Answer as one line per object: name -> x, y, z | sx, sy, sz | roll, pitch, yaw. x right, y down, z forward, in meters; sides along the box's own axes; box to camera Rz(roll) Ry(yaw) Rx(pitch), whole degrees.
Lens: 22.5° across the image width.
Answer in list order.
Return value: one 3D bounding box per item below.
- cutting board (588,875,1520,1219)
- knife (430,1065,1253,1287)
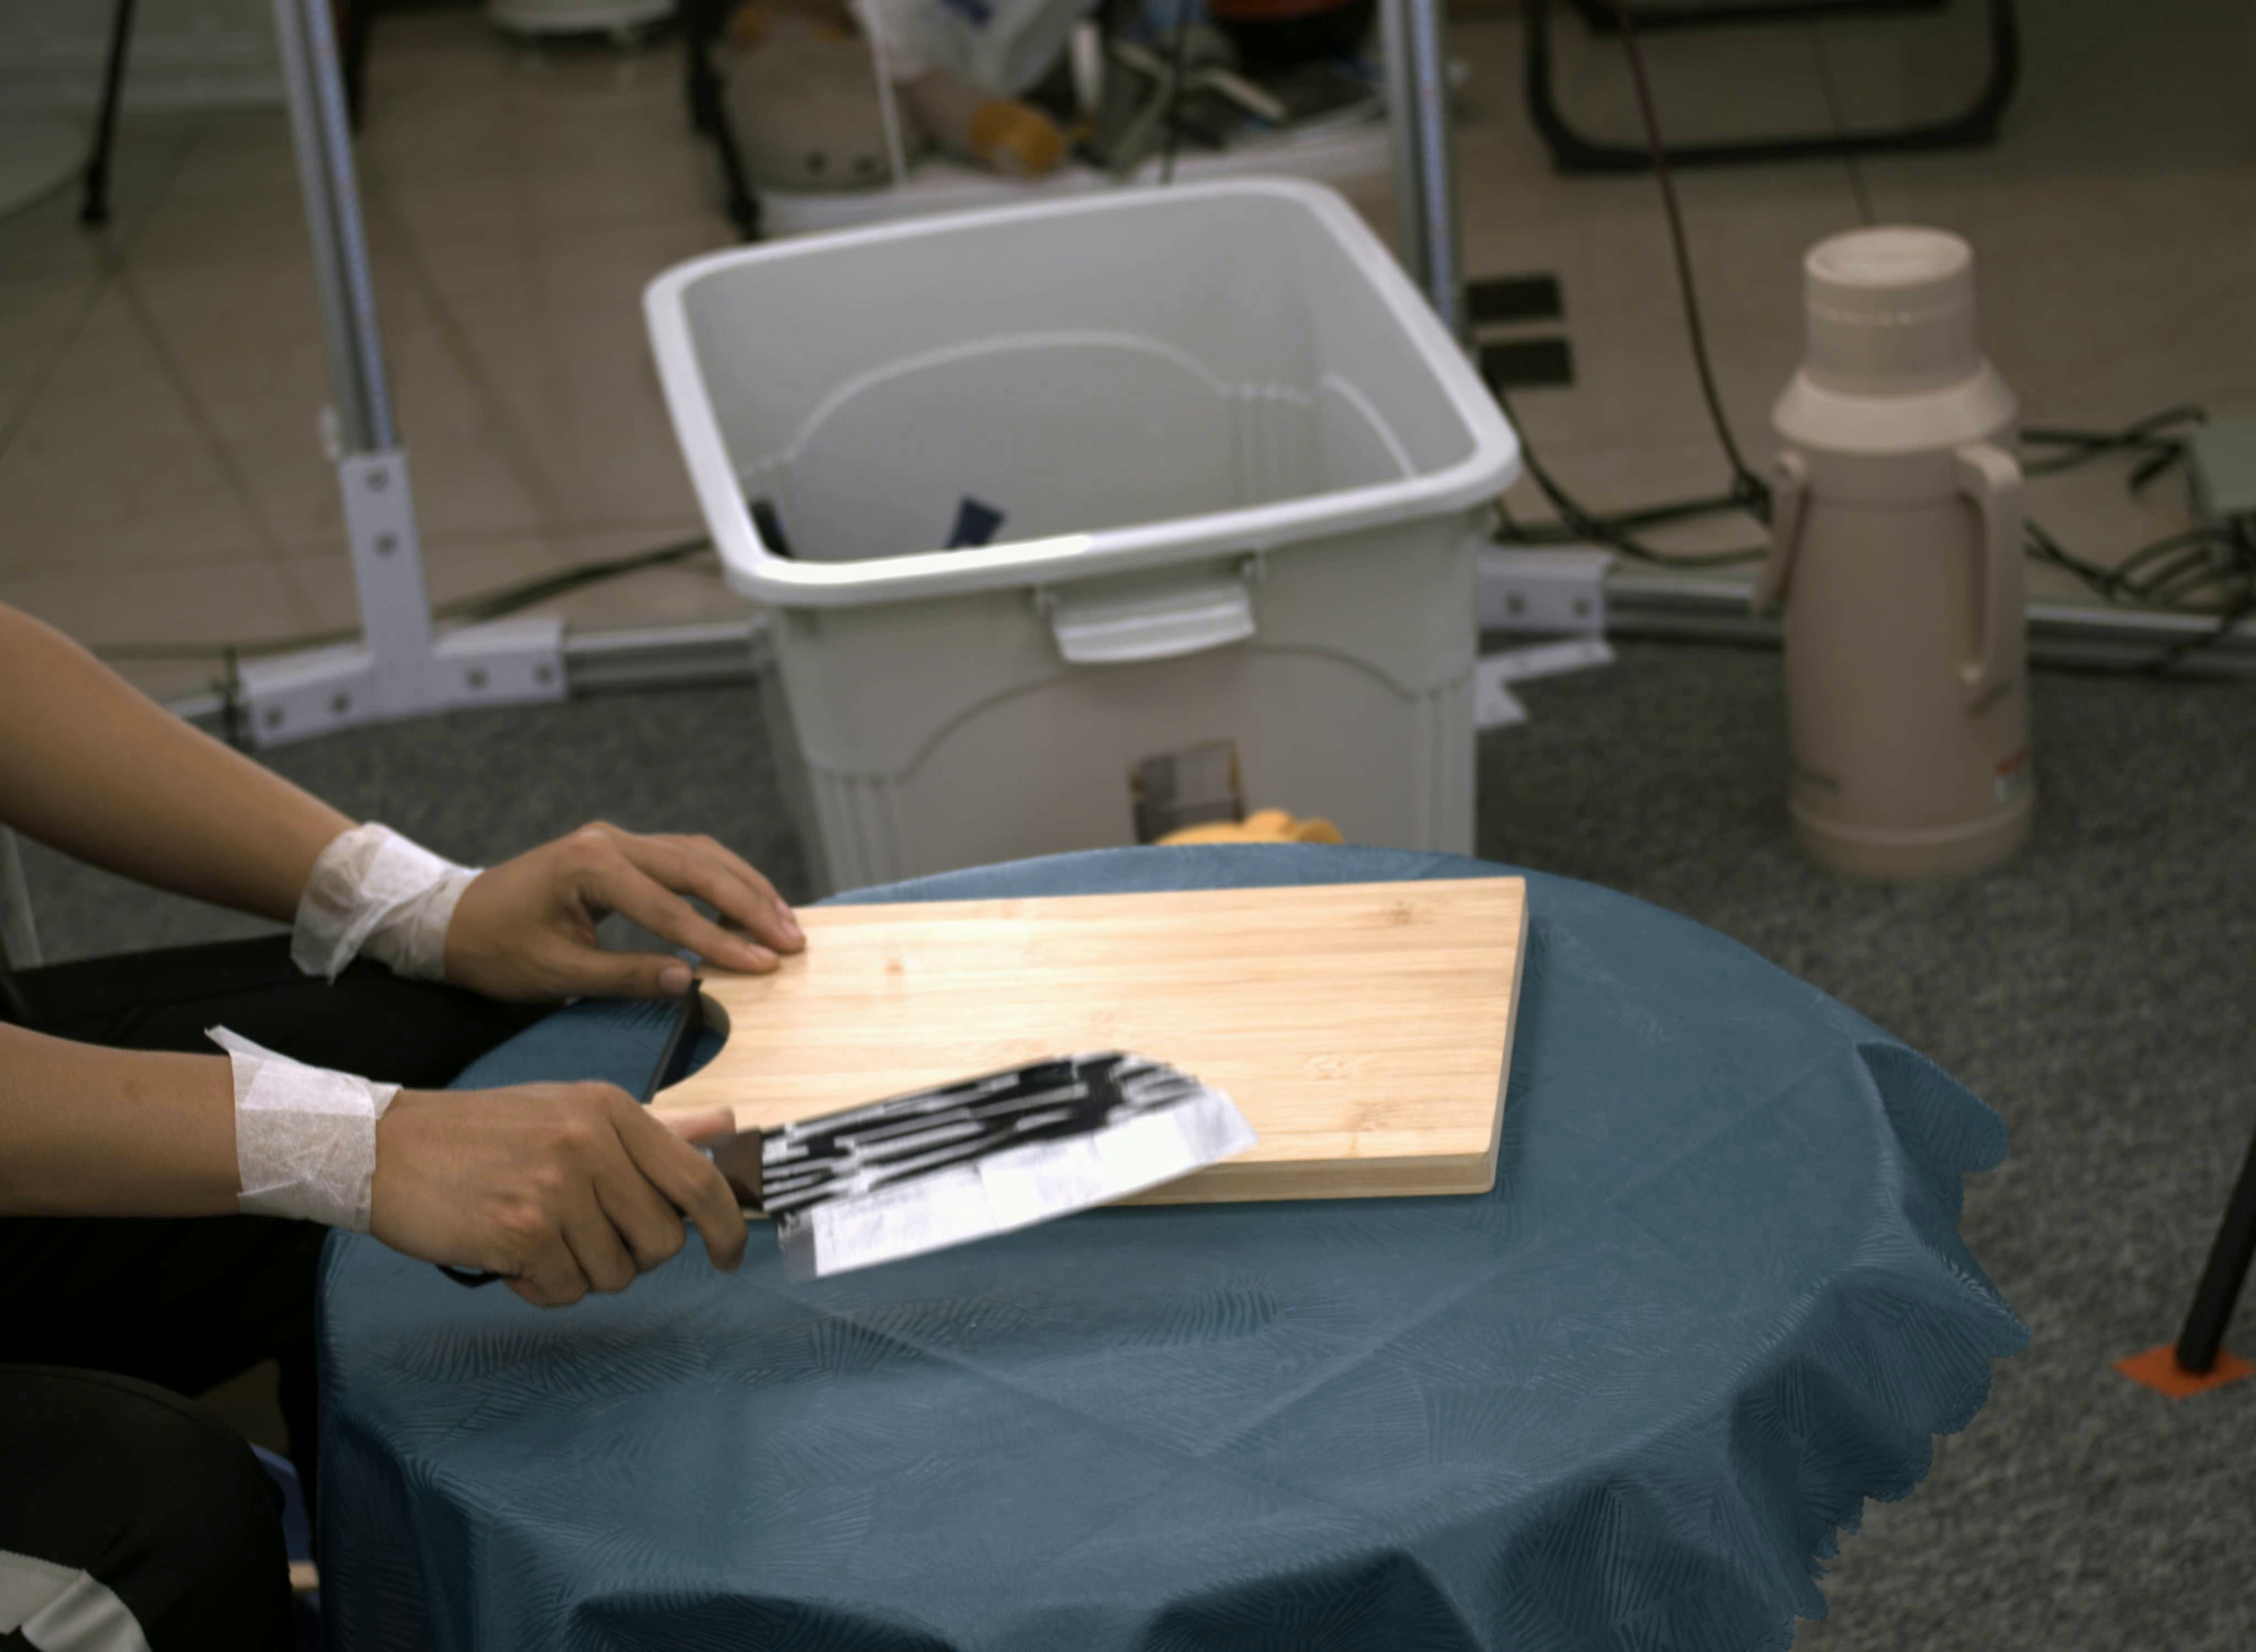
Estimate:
cutting board -> -0.023, 0.087, 2.250 | 0.348, 0.024, 0.247 | -3, 24, 8
knife -> -0.104, 0.134, 2.062 | 0.299, 0.024, 0.067 | -12, 54, -3
